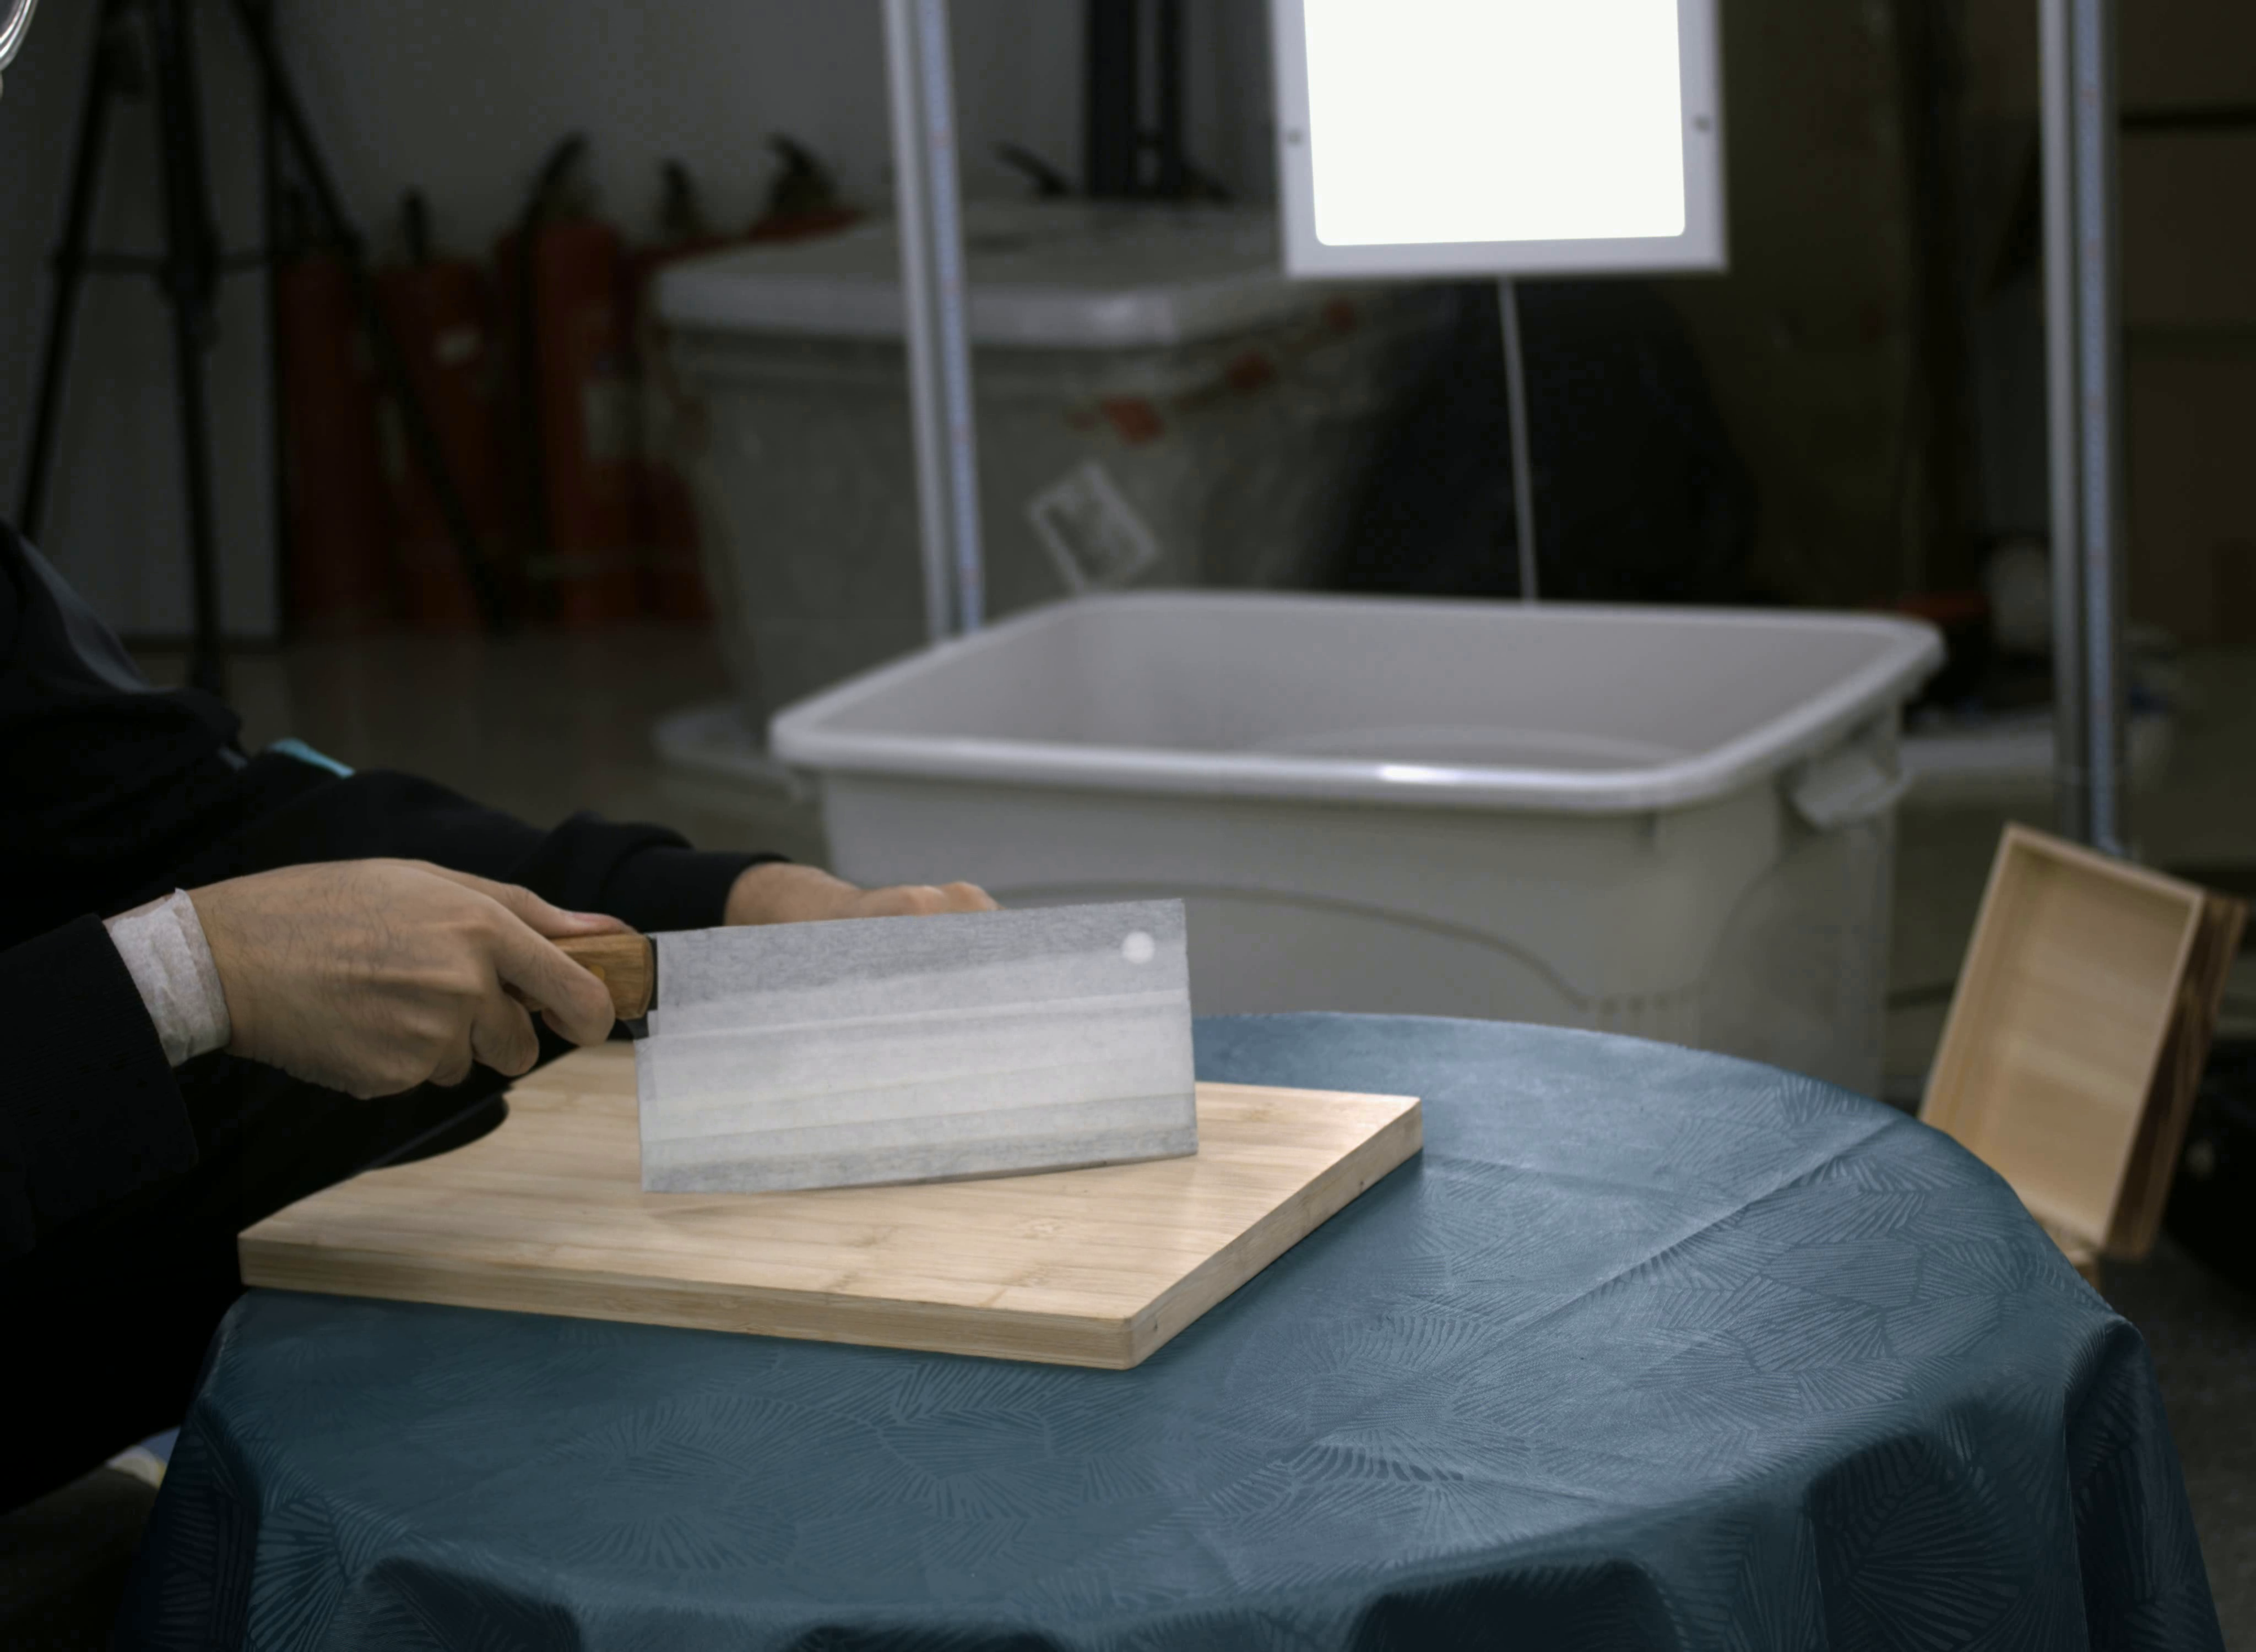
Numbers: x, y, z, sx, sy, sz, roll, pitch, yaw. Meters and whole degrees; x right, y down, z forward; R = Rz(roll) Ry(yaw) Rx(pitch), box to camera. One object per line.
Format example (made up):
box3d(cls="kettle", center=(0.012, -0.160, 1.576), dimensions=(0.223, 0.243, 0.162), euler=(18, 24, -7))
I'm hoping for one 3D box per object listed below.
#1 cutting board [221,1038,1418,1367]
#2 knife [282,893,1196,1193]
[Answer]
box3d(cls="cutting board", center=(-0.104, 0.126, 1.903), dimensions=(0.354, 0.023, 0.245), euler=(2, 16, 27))
box3d(cls="knife", center=(-0.130, 0.076, 1.858), dimensions=(0.304, 0.093, 0.021), euler=(-4, 8, -1))
